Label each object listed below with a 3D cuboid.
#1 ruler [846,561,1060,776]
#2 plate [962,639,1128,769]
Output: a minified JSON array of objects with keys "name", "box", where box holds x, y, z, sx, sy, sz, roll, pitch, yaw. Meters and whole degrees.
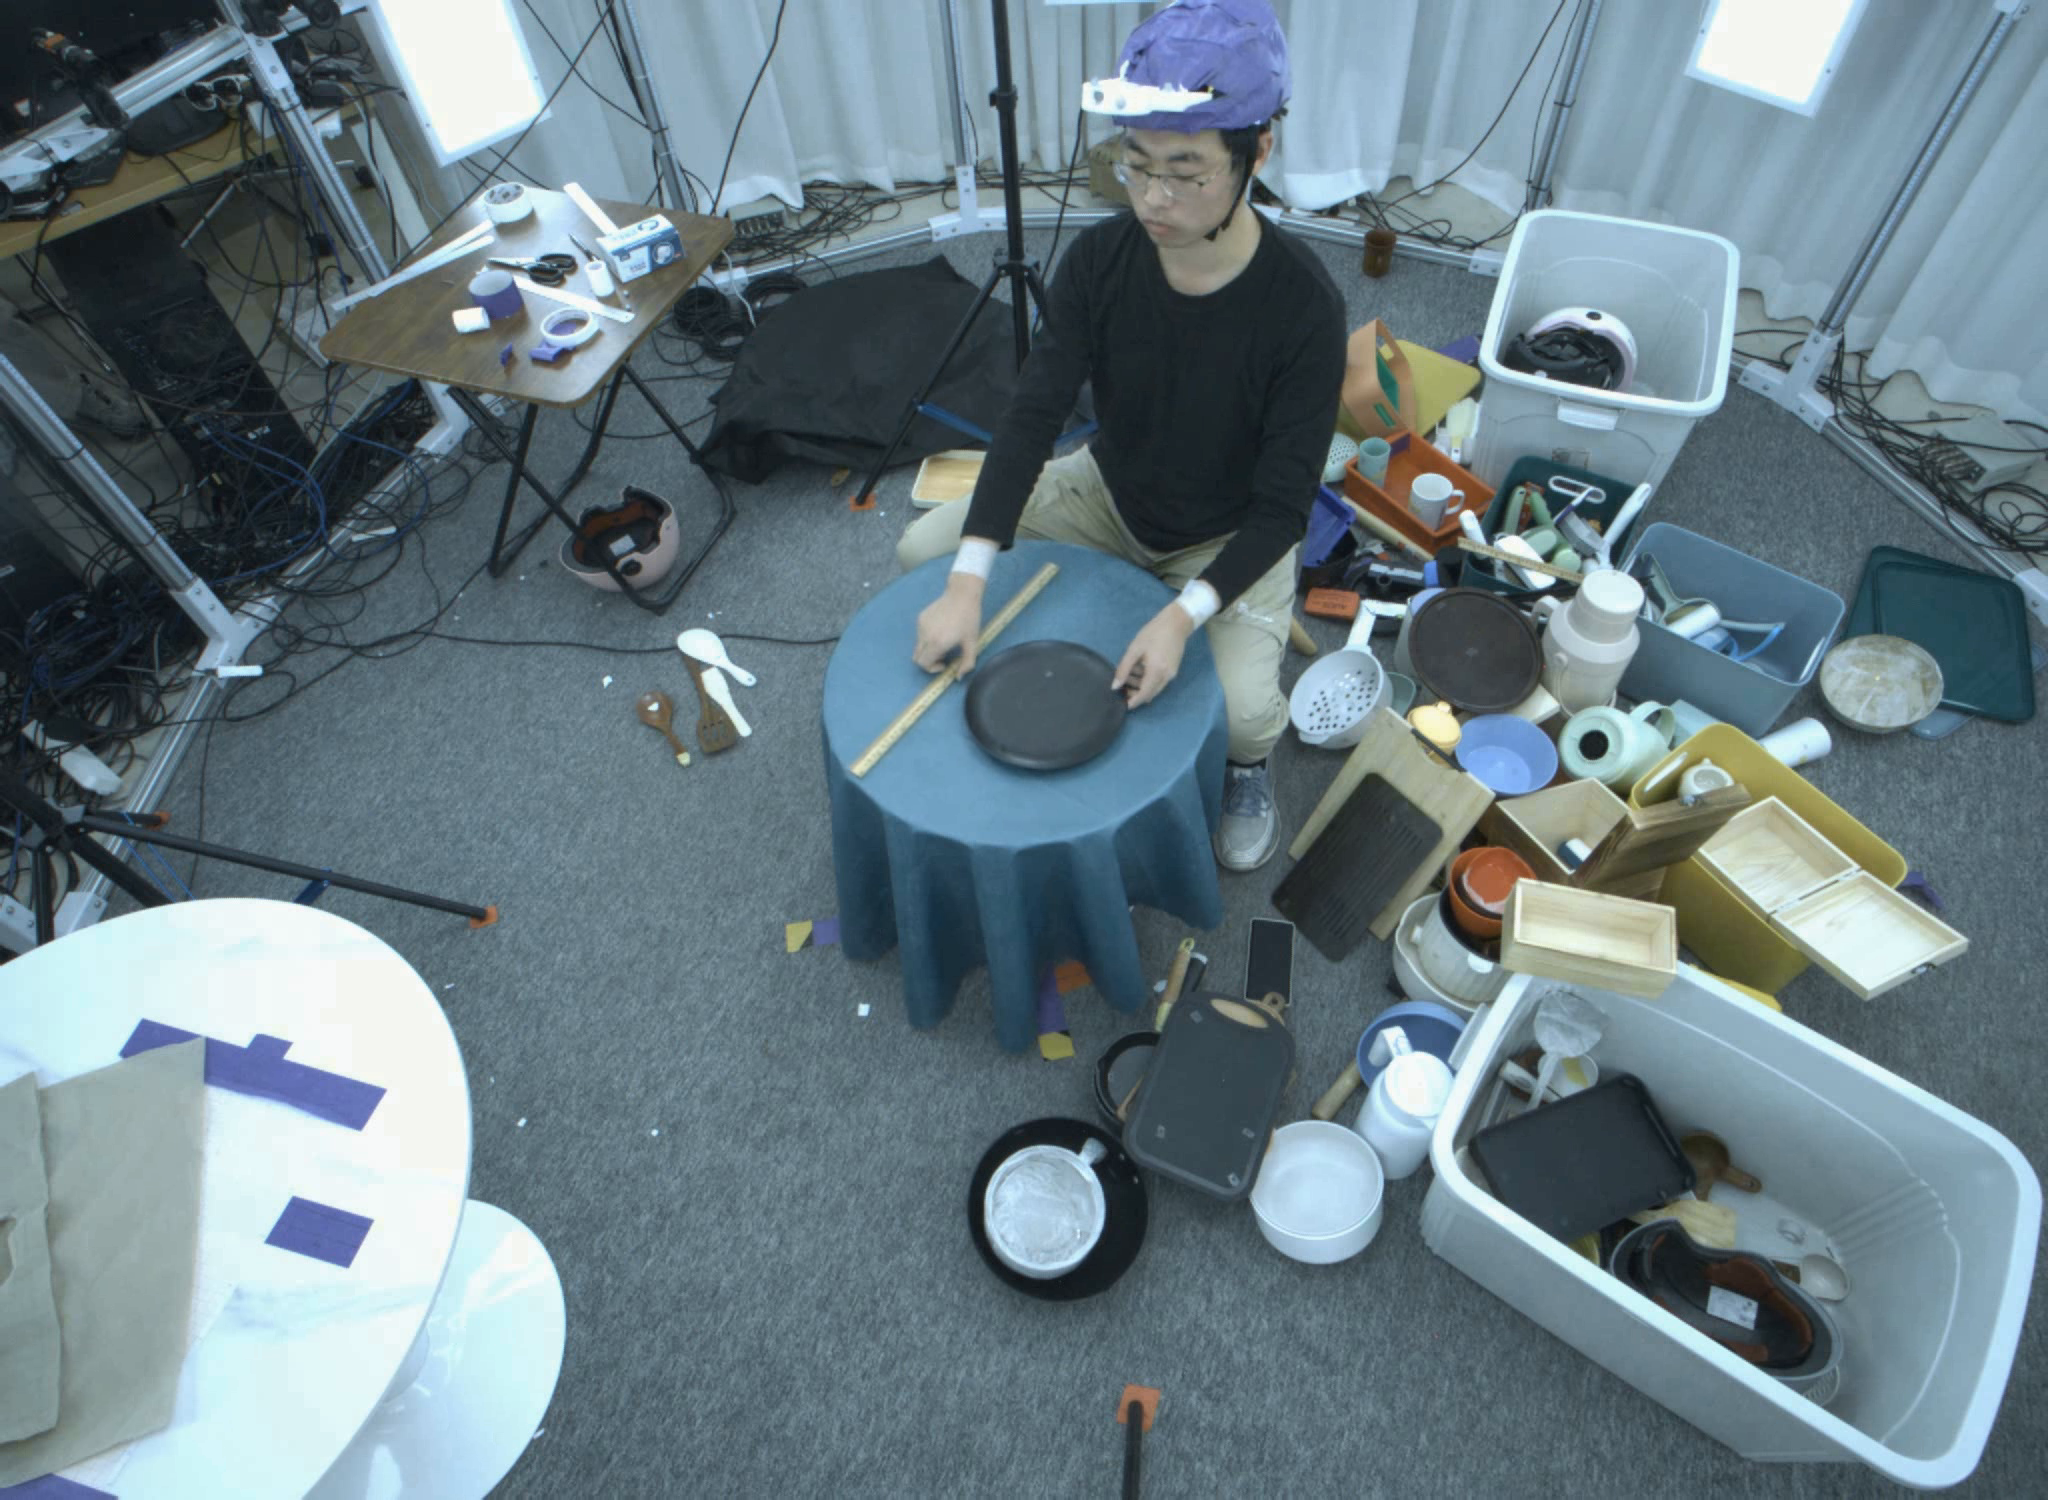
[{"name":"ruler","box":[-0.099,-0.134,1.883,0.026,0.006,0.503,33,62,17]},{"name":"plate","box":[0.031,-0.066,1.819,0.244,0.024,0.242,0,55,2]}]
